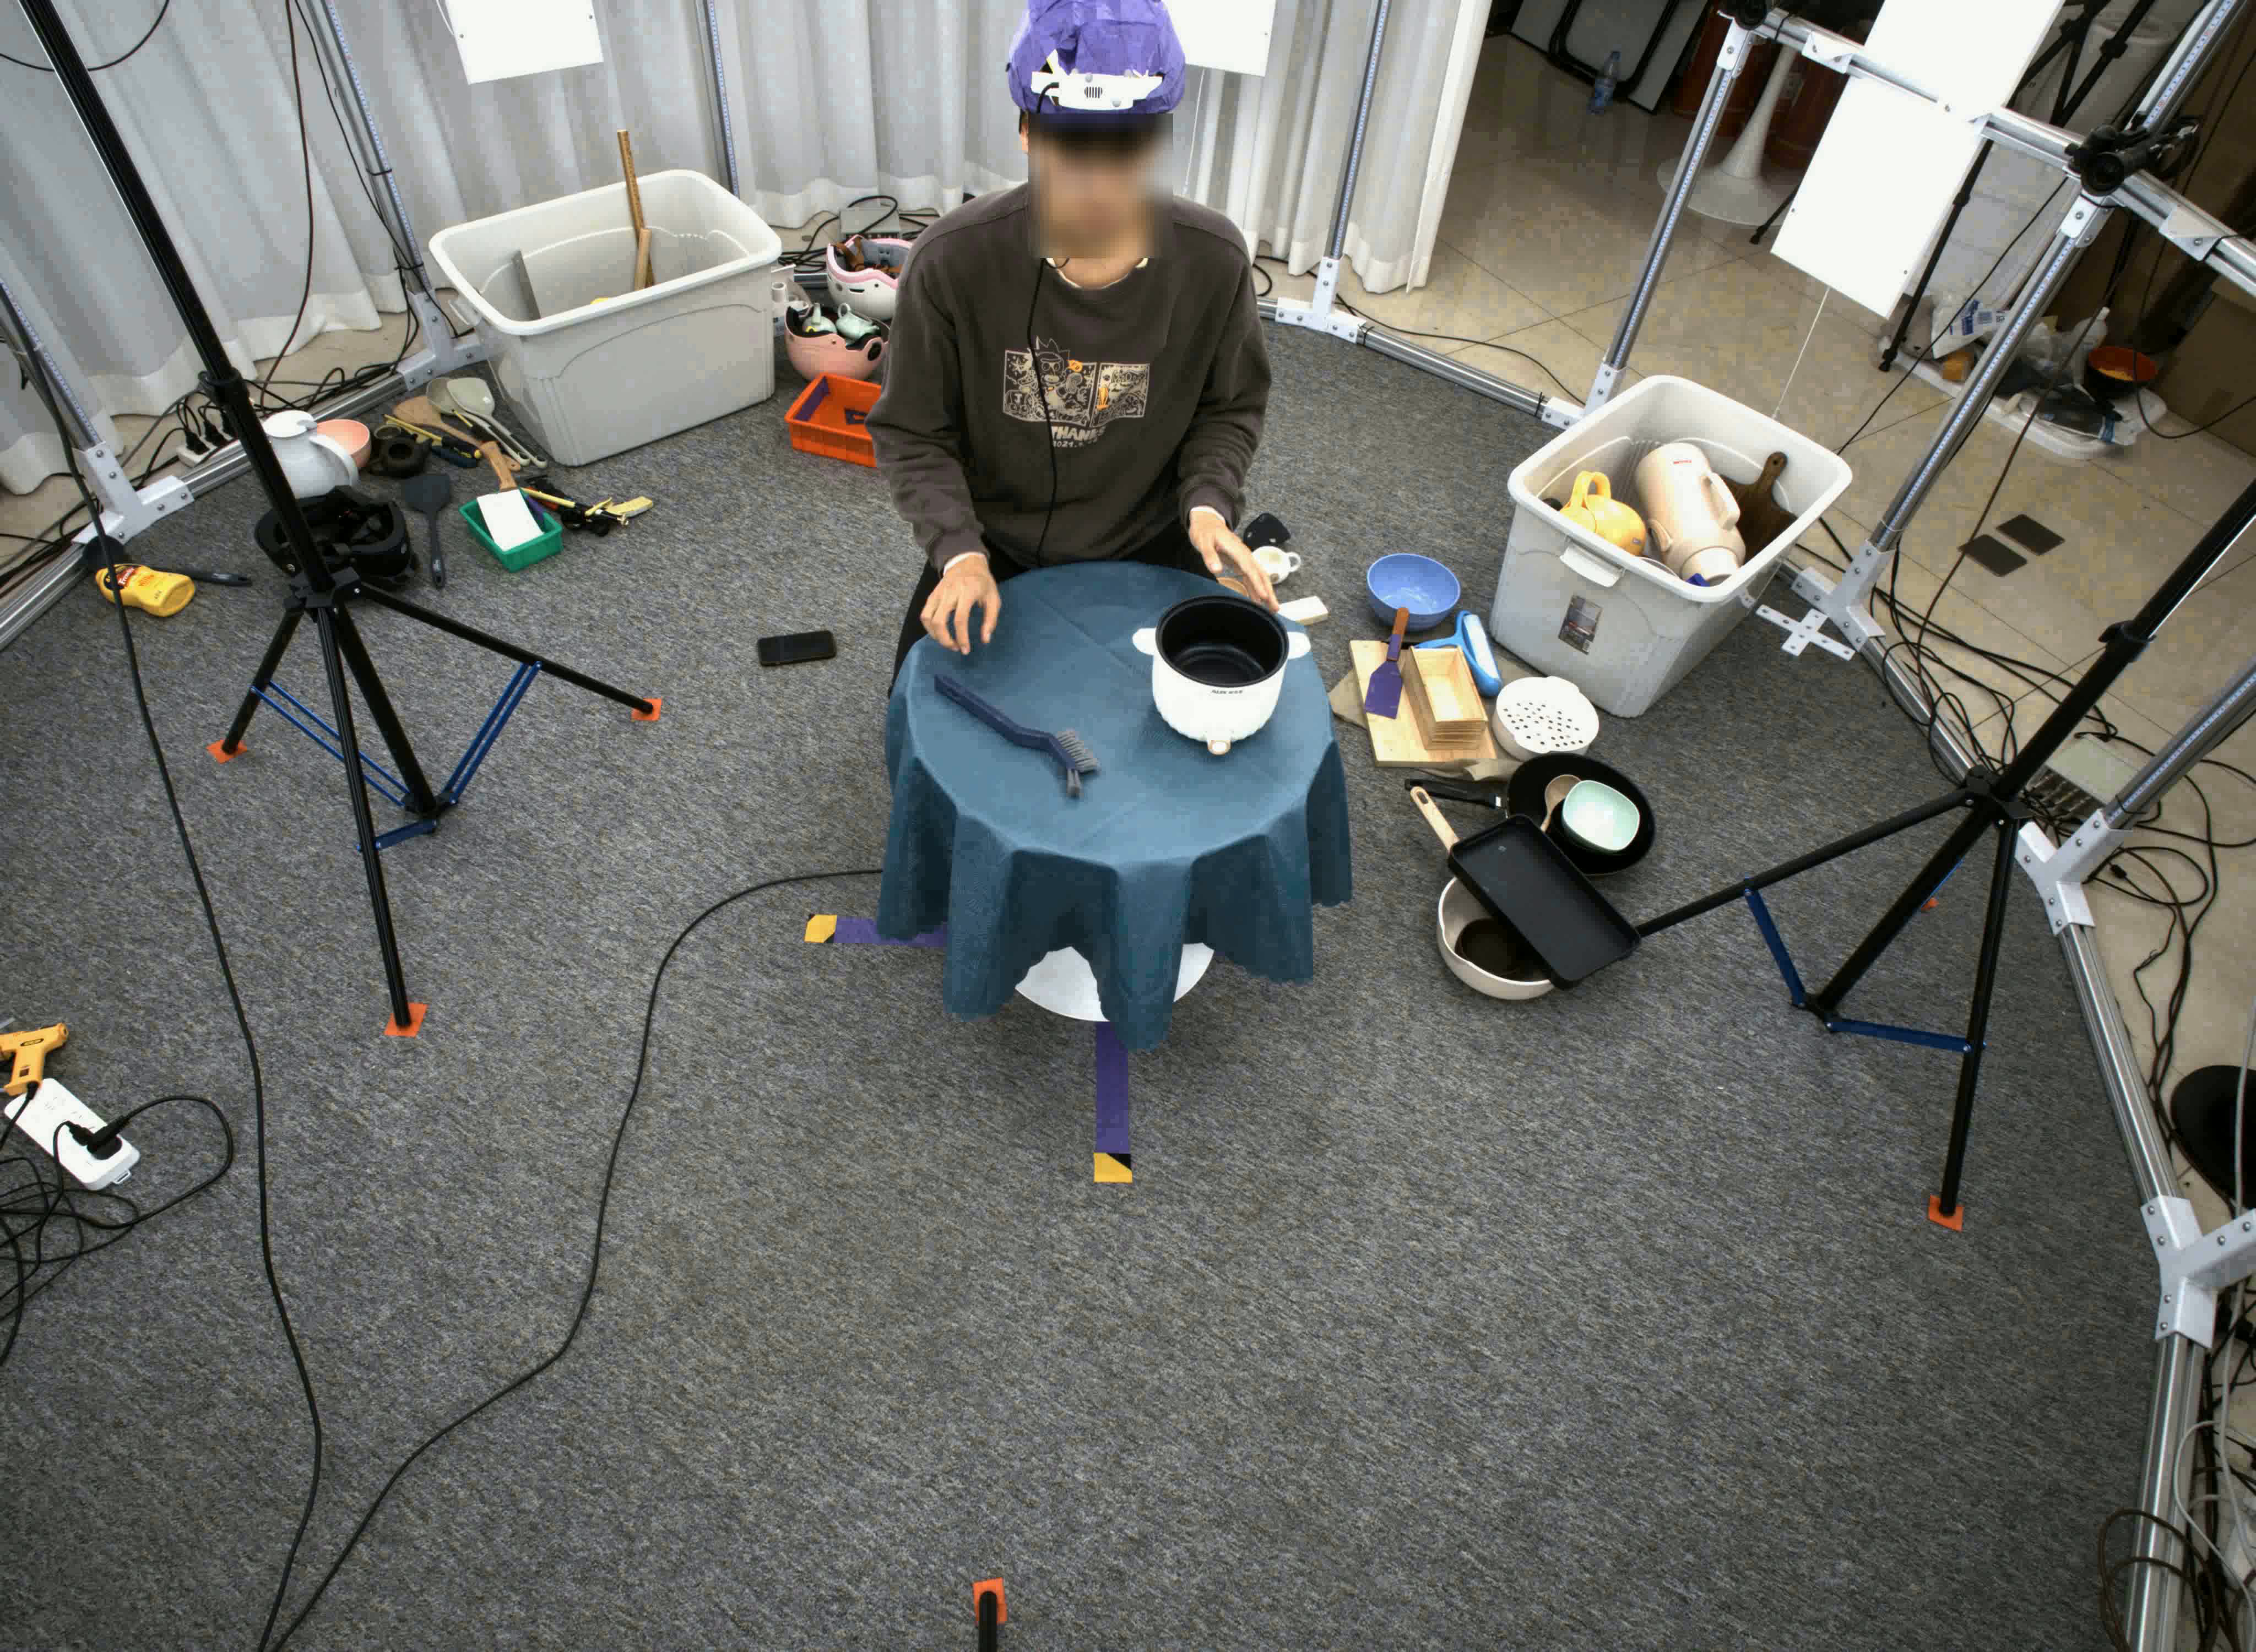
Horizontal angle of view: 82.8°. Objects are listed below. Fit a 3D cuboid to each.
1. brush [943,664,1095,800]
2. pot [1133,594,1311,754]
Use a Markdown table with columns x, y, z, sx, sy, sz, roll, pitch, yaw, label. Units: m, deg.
| x | y | z | sx | sy | sz | roll | pitch | yaw | label |
| --- | --- | --- | --- | --- | --- | --- | --- | --- | --- |
| -0.163 | -0.133 | 1.748 | 0.276 | 0.033 | 0.097 | 30 | 51 | 19 | brush |
| 0.125 | -0.205 | 1.762 | 0.240 | 0.139 | 0.195 | 0 | 46 | -2 | pot |
